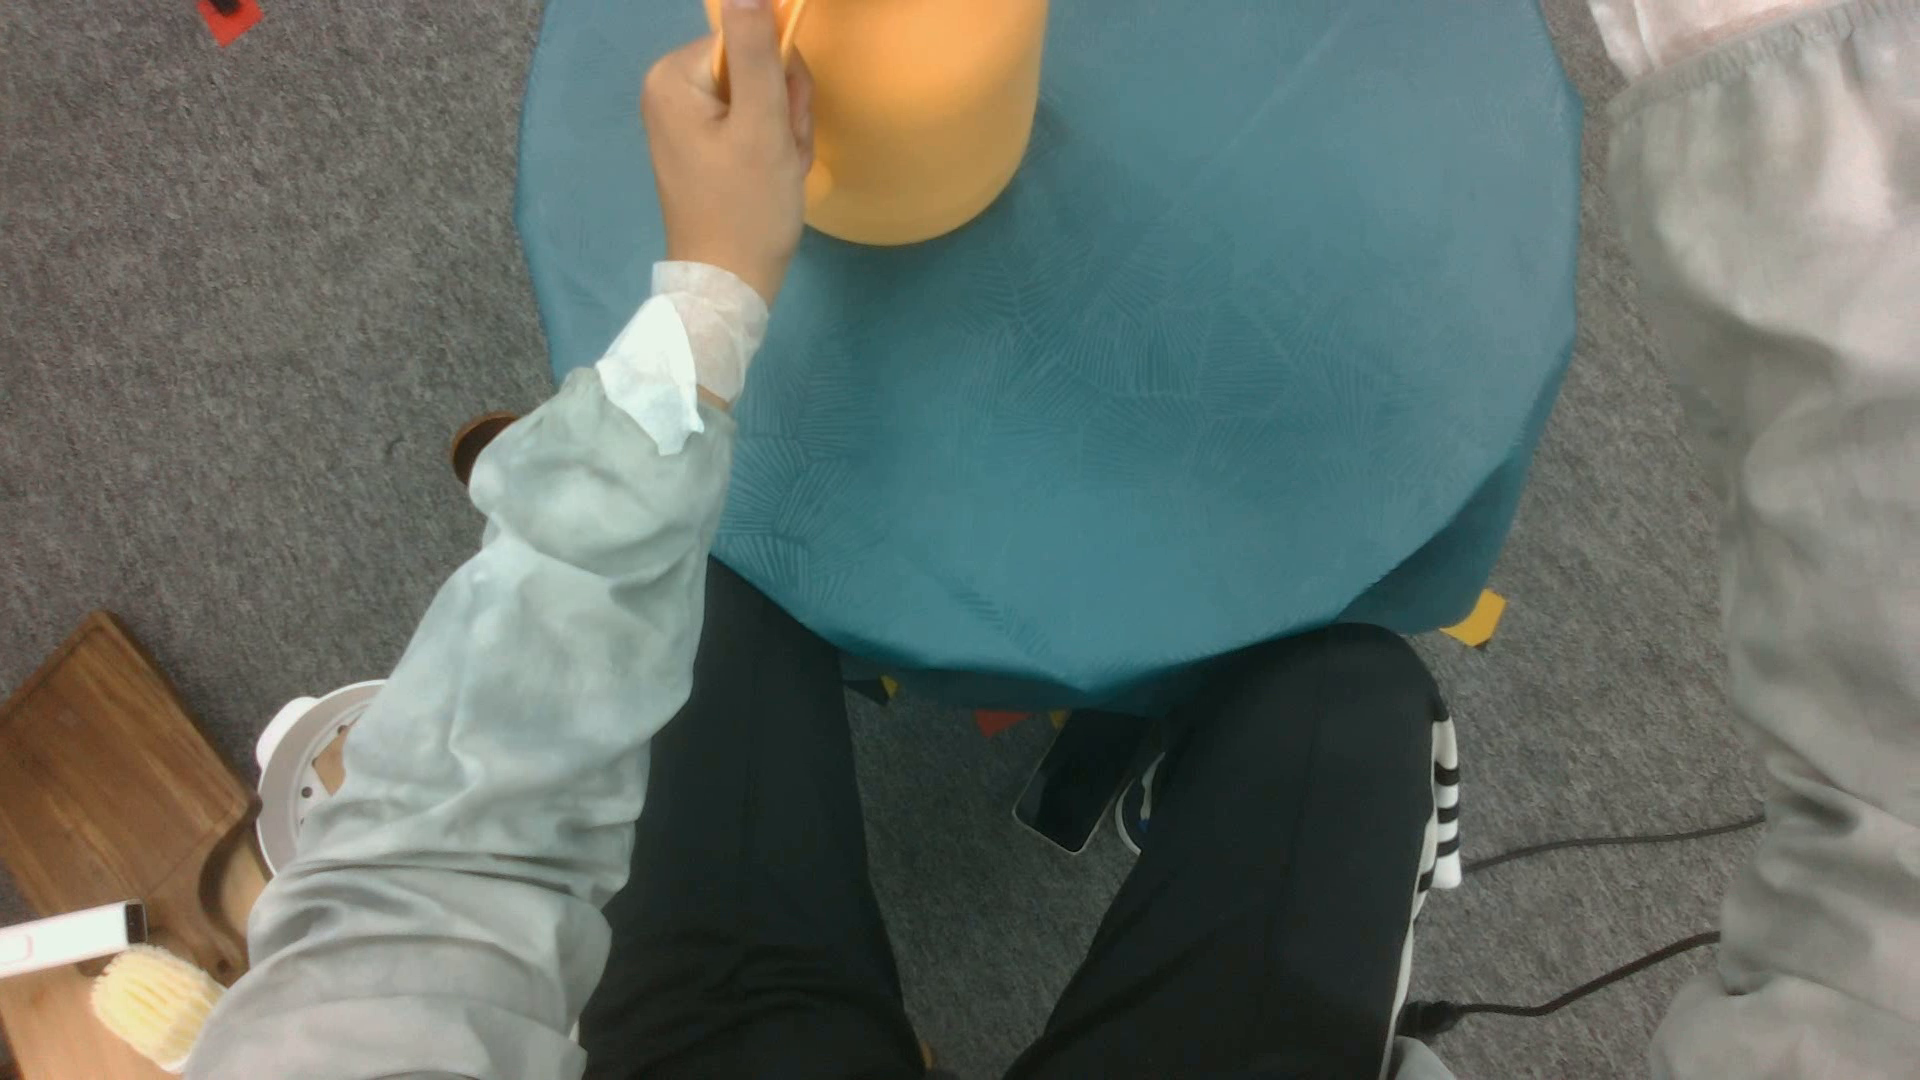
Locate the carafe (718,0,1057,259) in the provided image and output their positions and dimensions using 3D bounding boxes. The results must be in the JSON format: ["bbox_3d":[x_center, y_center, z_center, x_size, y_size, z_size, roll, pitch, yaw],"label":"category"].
[{"bbox_3d":[-0.044,-0.238,0.661,0.163,0.260,0.203,26,77,7],"label":"carafe"}]

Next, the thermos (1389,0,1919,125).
[{"bbox_3d":[0.184,-0.253,0.438,0.406,0.207,0.175,11,108,-11],"label":"thermos"}]
